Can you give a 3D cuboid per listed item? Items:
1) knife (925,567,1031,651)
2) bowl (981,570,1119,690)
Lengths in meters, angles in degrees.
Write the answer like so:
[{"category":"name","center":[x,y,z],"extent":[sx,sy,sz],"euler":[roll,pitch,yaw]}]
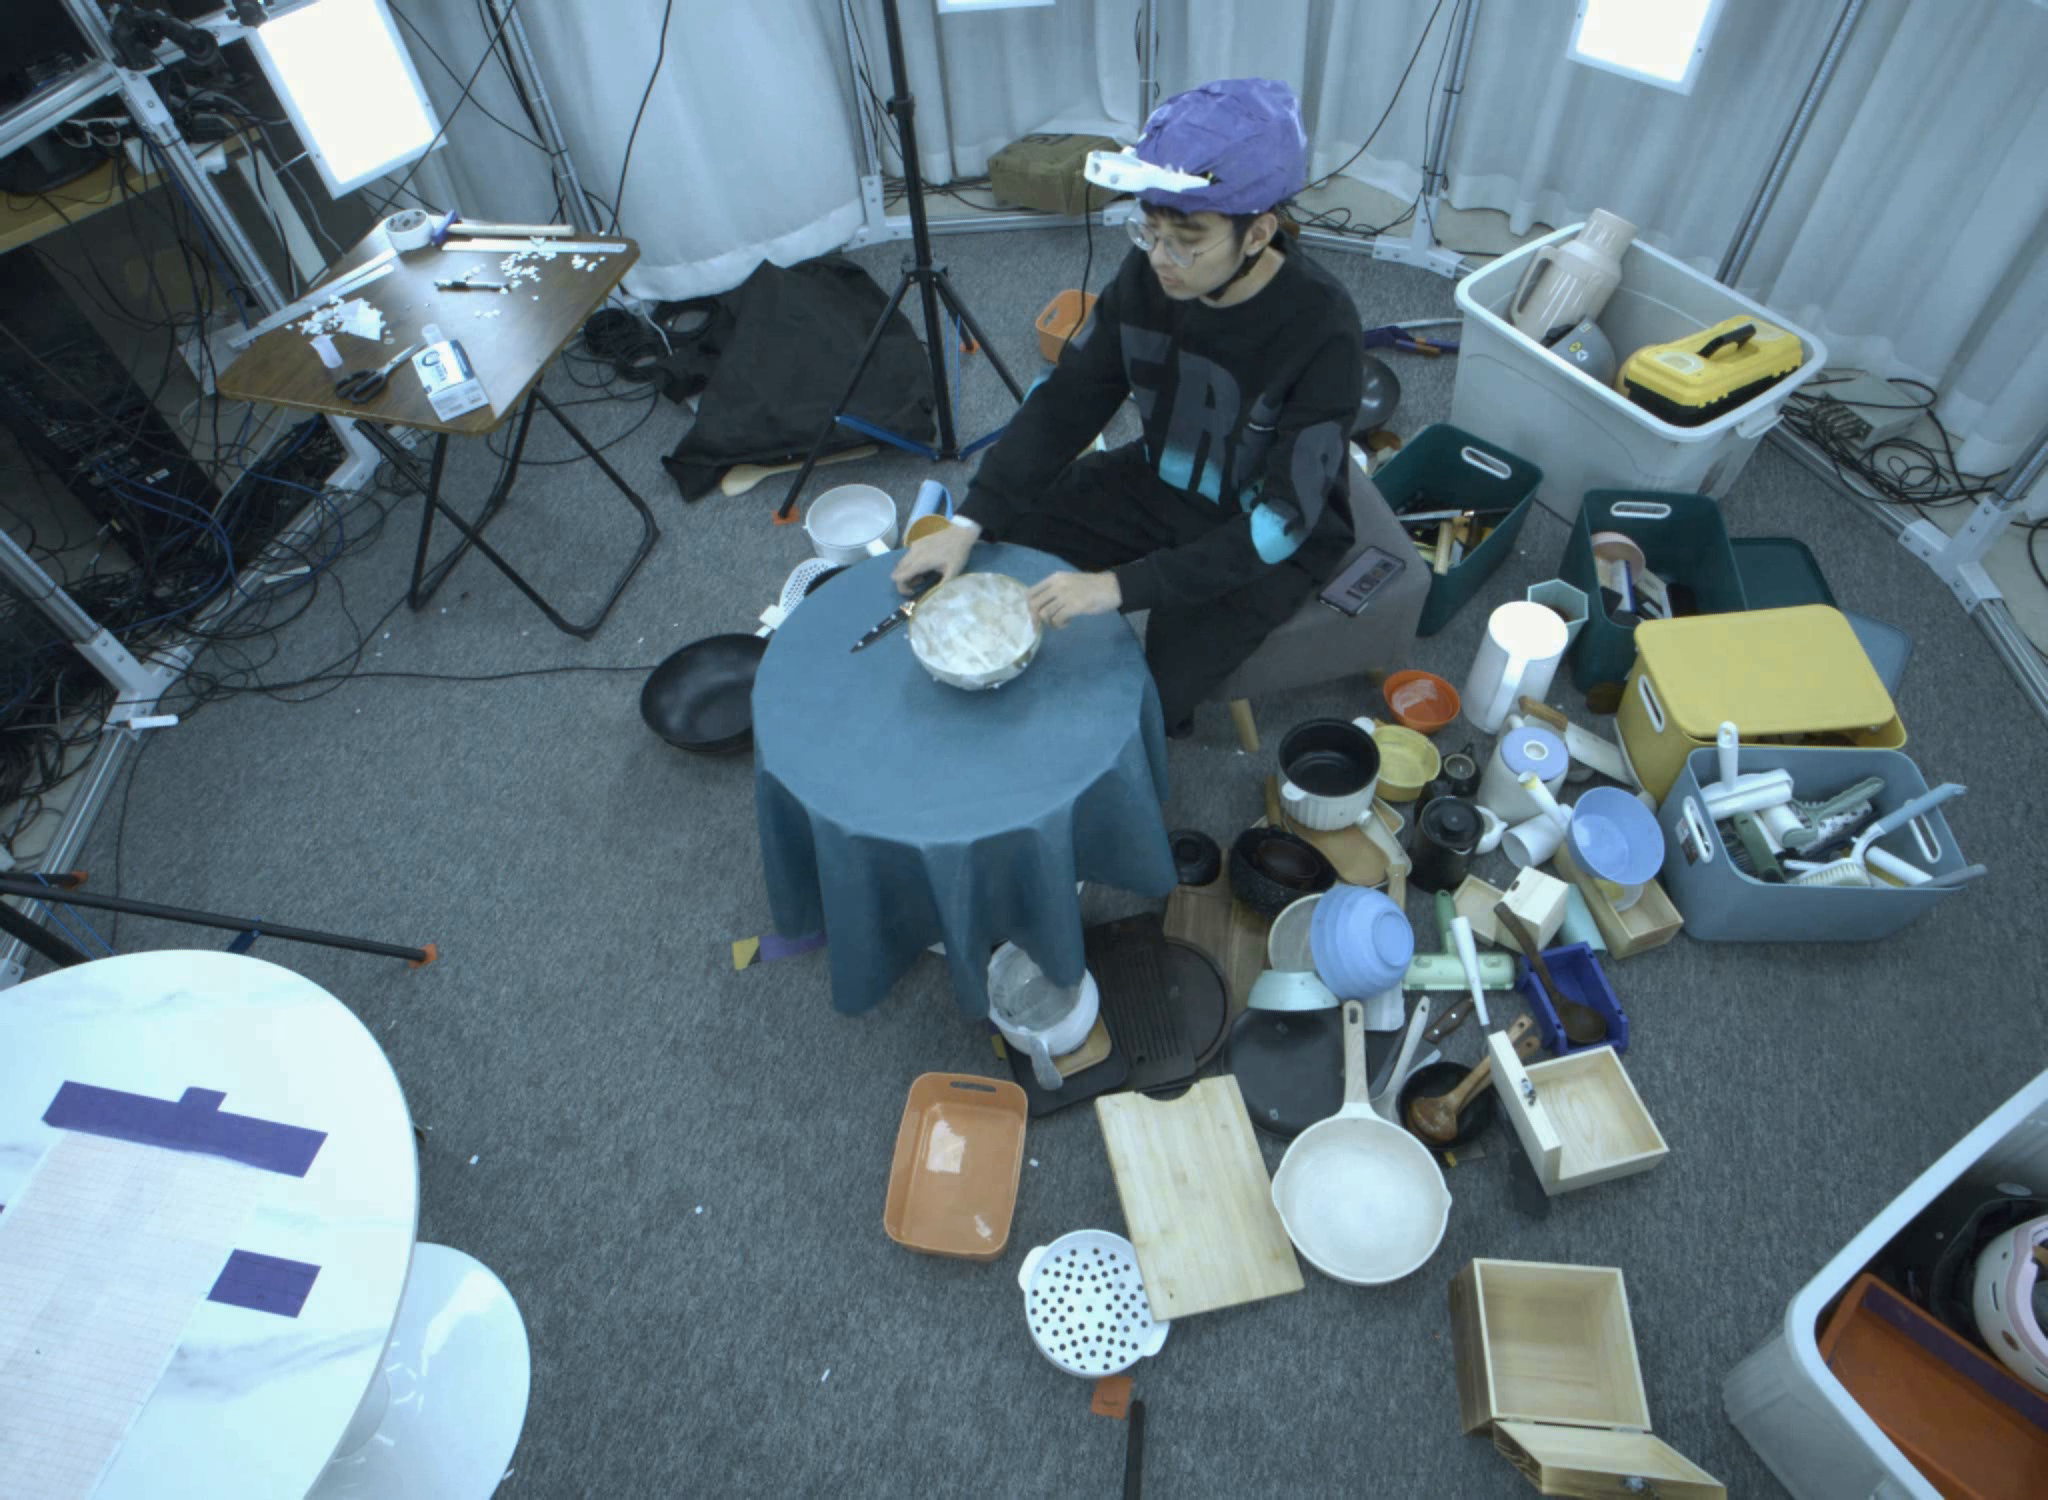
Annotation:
[{"category":"knife","center":[-0.074,-0.225,1.942],"extent":[0.227,0.017,0.026],"euler":[-38,69,-21]},{"category":"bowl","center":[0.042,-0.165,1.843],"extent":[0.214,0.096,0.212],"euler":[-2,54,4]}]
